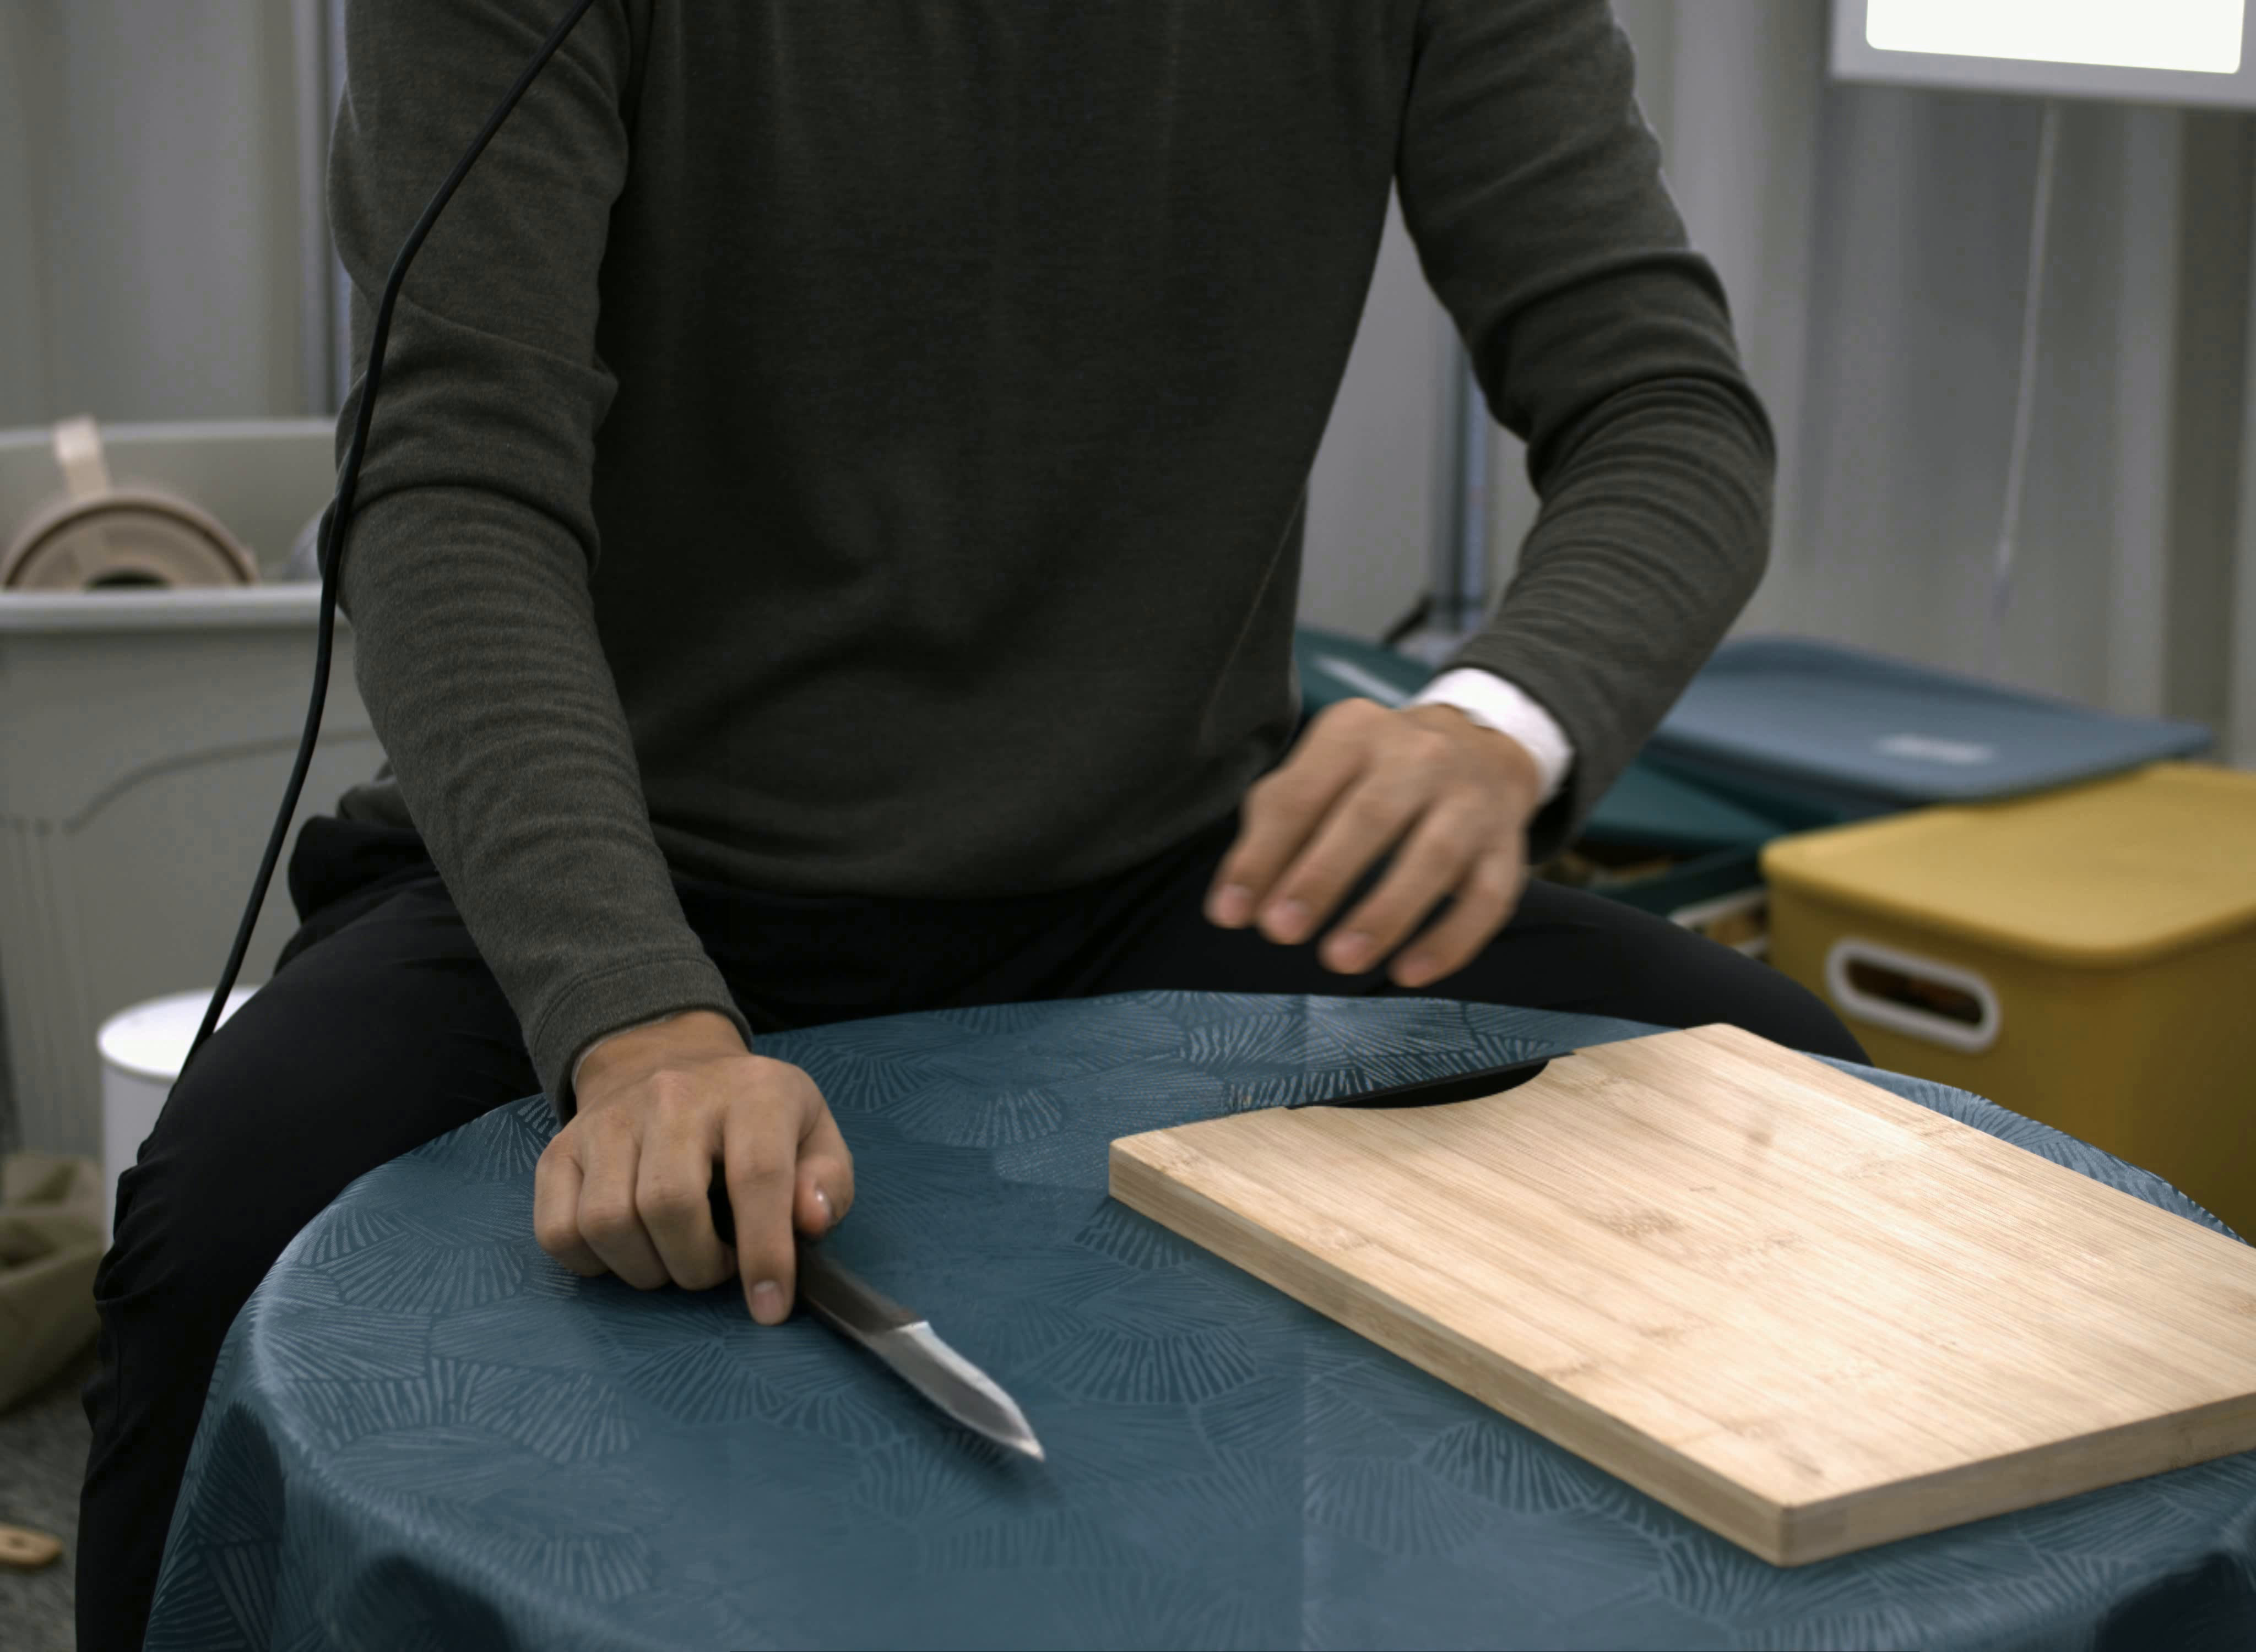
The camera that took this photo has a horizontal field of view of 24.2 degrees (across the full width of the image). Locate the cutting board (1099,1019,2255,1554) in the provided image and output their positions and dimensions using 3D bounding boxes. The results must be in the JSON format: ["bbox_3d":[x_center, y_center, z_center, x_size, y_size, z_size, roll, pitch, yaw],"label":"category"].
[{"bbox_3d":[0.180,0.127,1.549,0.252,0.024,0.344,-9,18,-32],"label":"cutting board"}]

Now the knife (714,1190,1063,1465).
[{"bbox_3d":[-0.070,0.141,1.481,0.024,0.016,0.235,-10,17,-23],"label":"knife"}]
